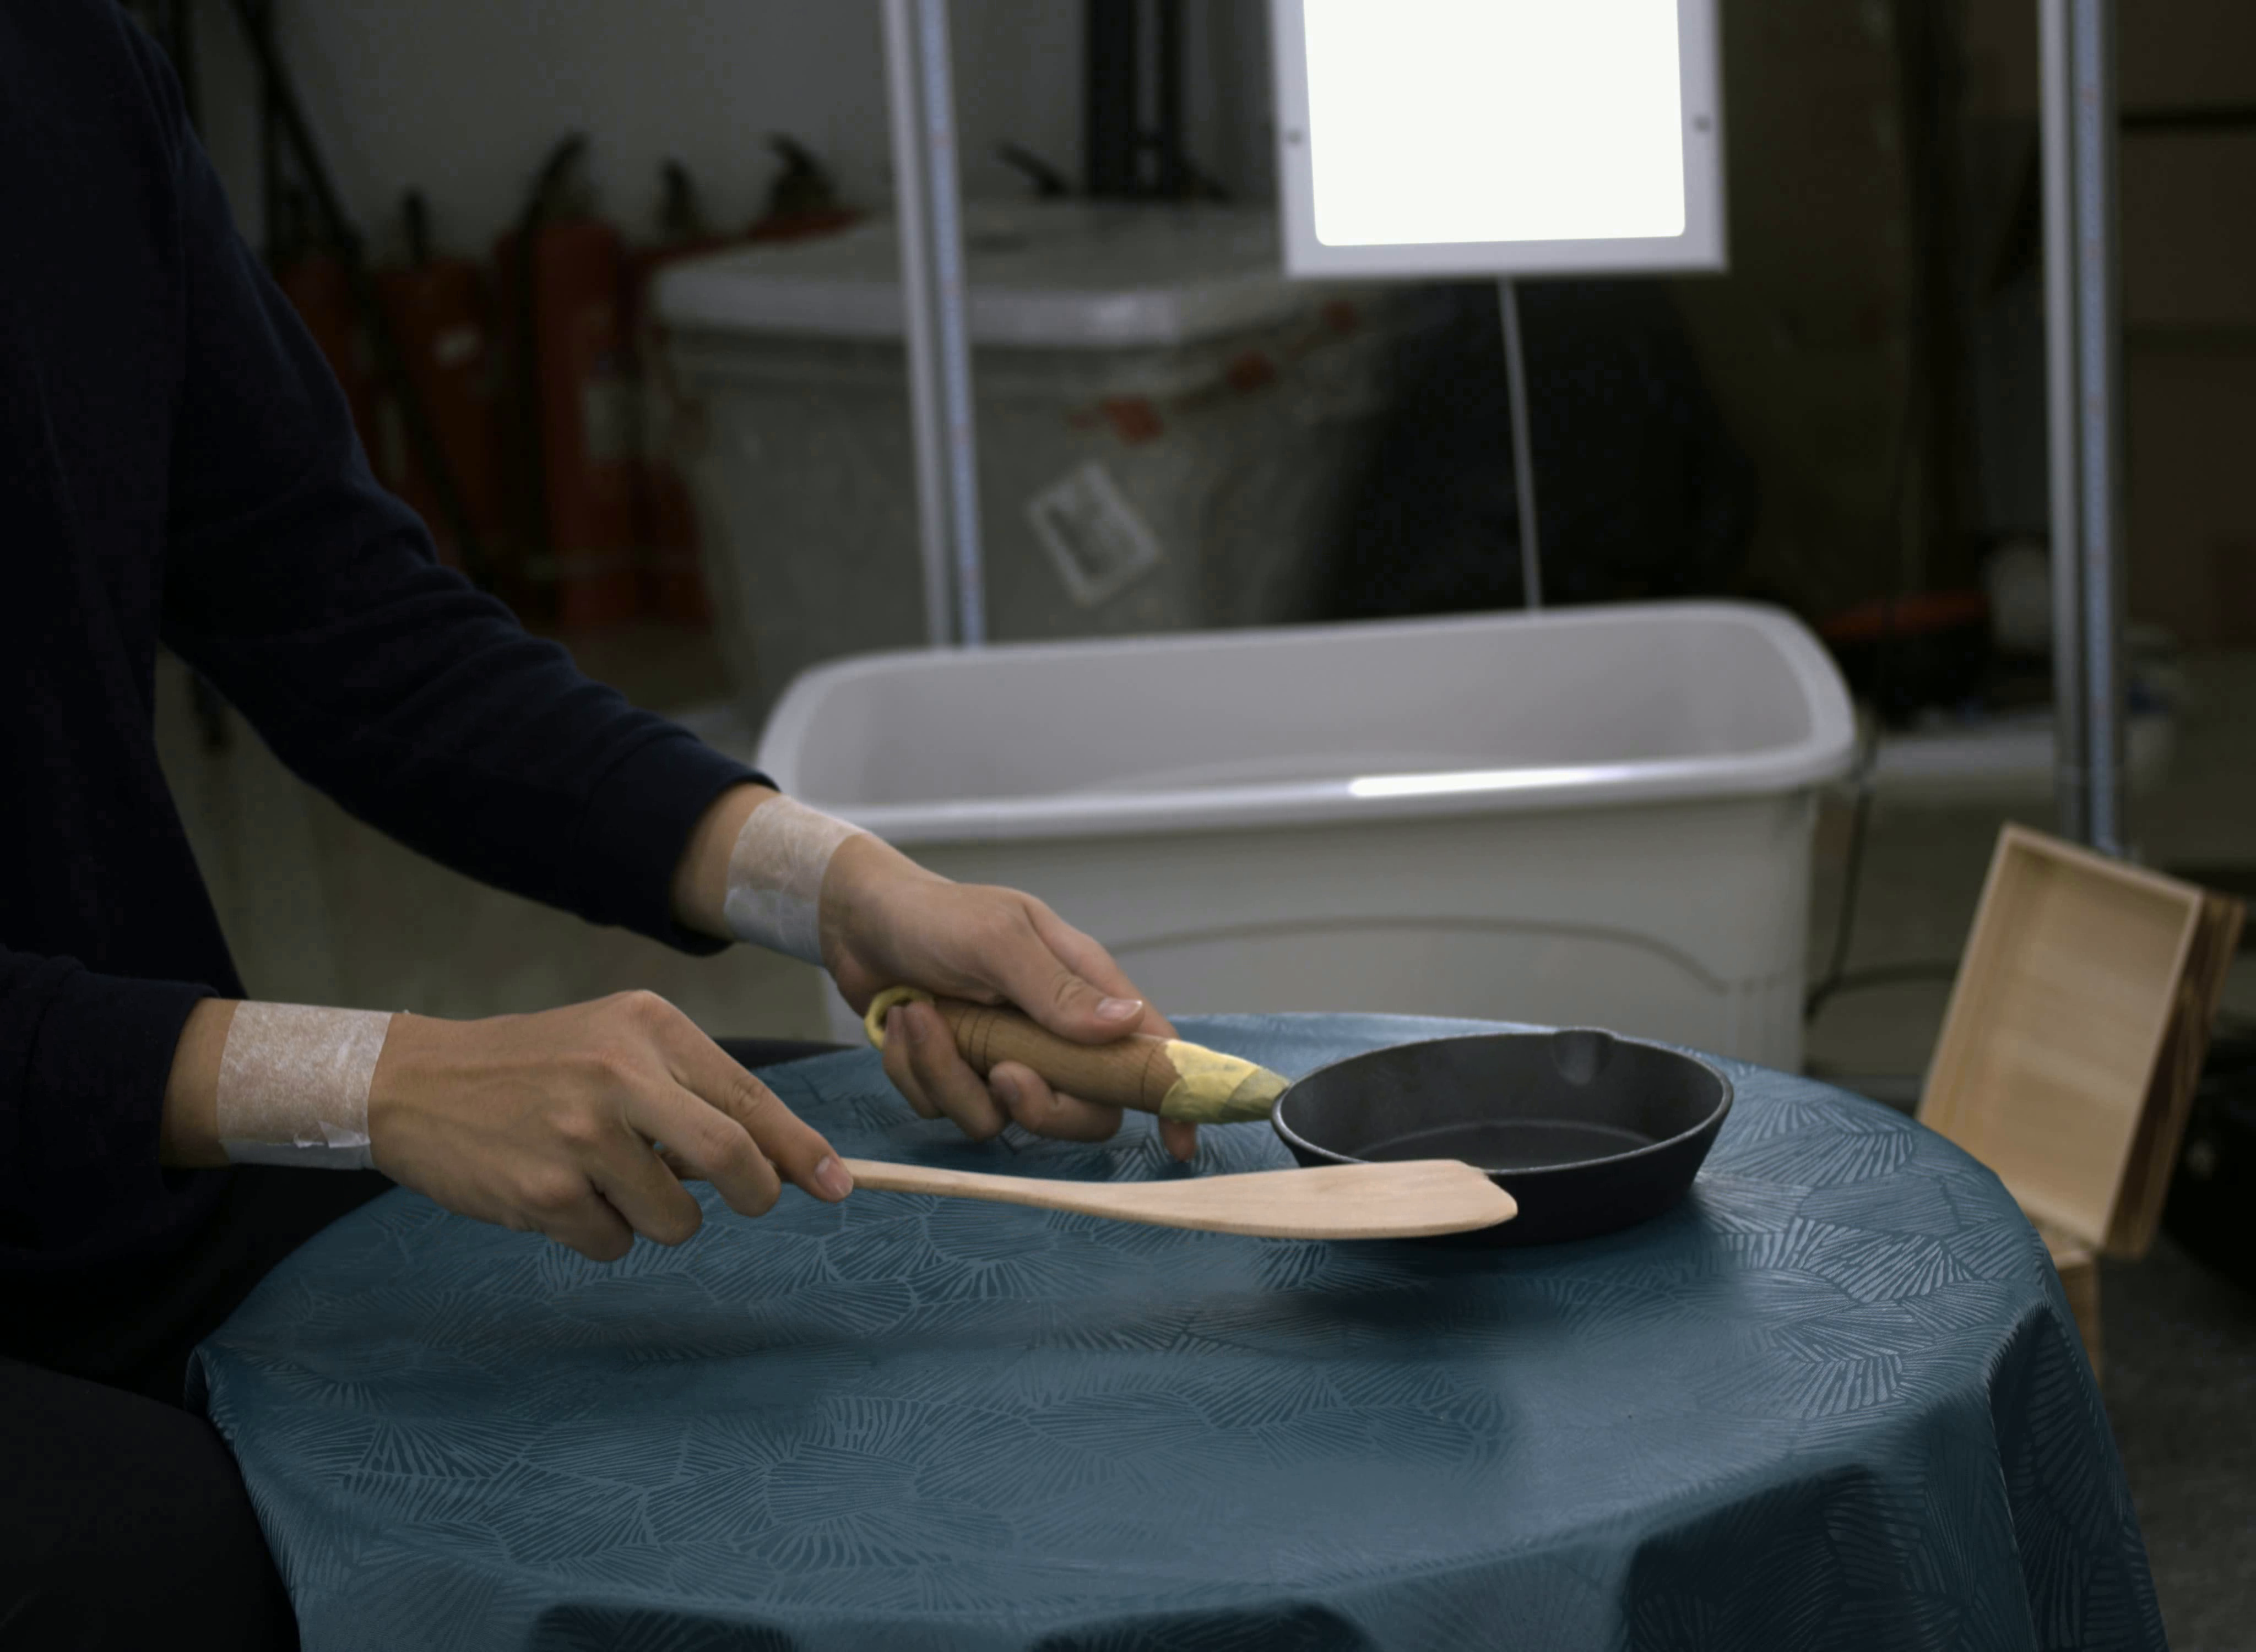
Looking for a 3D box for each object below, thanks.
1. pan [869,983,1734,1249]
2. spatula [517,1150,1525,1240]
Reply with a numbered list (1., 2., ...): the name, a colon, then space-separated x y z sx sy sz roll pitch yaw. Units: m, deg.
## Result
1. pan: 0.053 0.093 1.900 0.330 0.050 0.165 5 18 30
2. spatula: -0.035 0.113 1.764 0.329 0.016 0.079 3 11 9
